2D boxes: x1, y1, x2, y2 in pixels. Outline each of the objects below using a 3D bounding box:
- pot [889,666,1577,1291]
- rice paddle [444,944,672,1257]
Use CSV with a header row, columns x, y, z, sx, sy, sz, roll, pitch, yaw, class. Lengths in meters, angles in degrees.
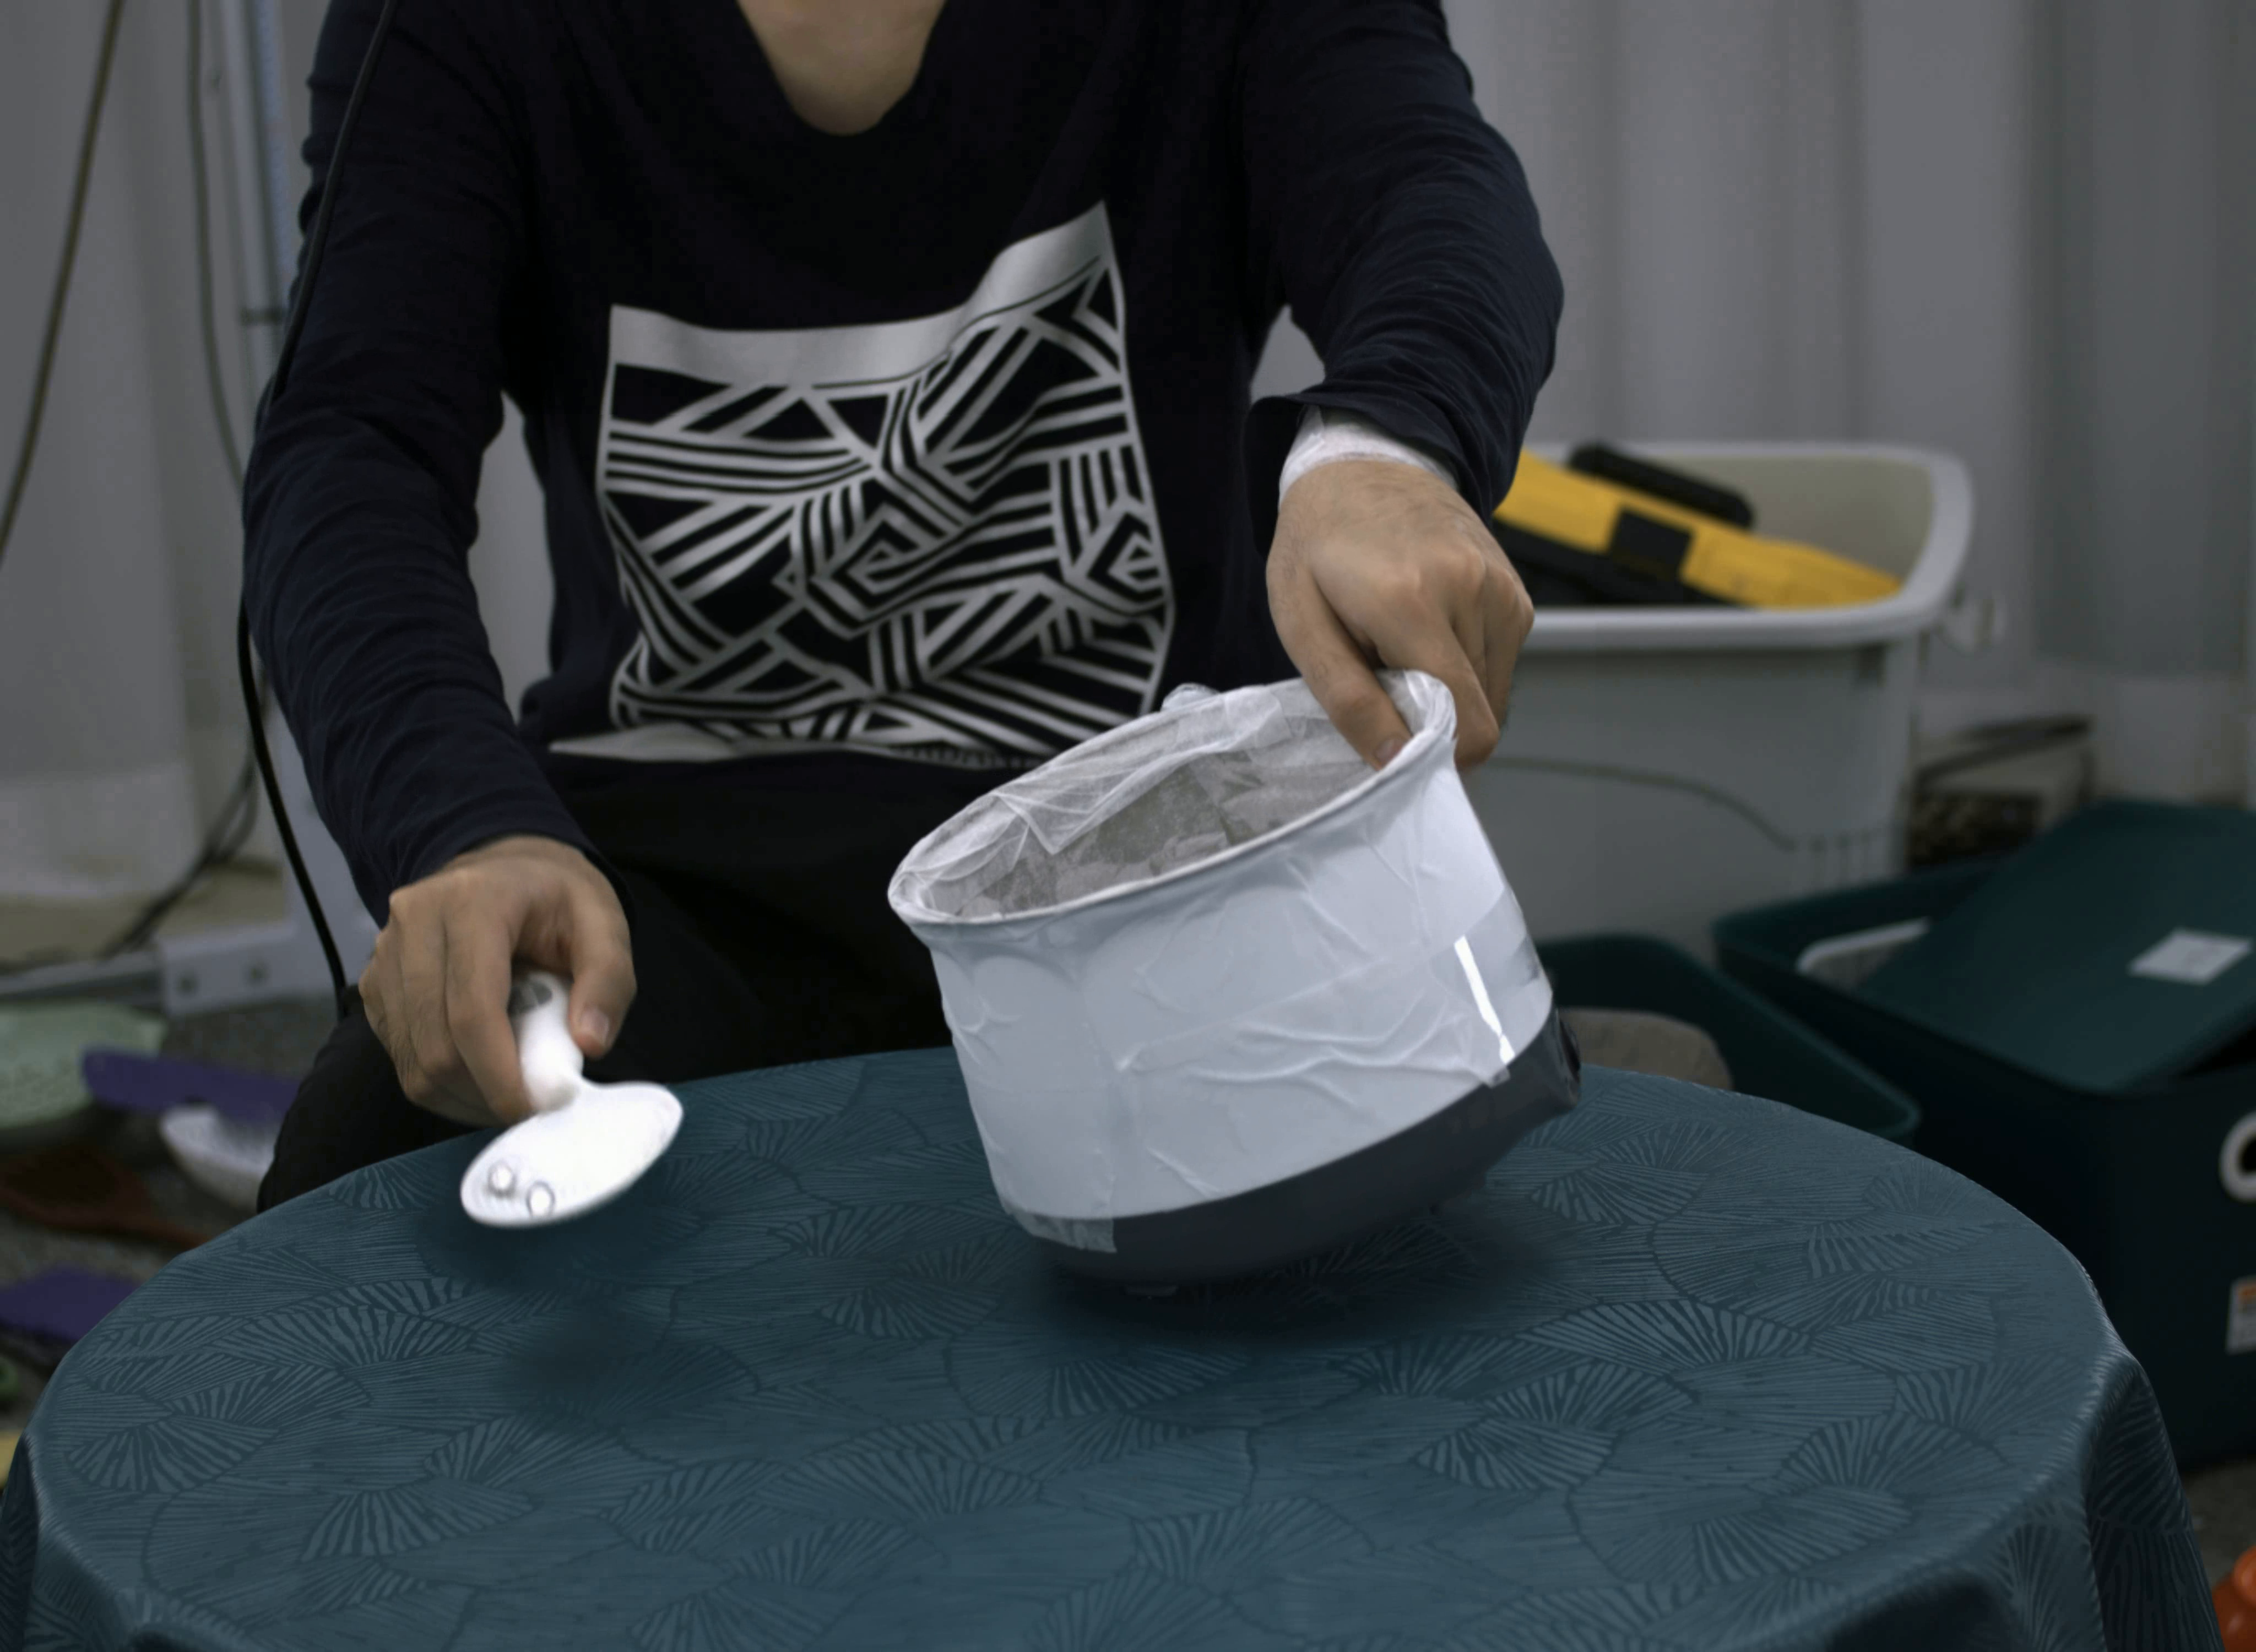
x,y,z,sx,sy,sz,roll,pitch,yaw,class
0.034,0.037,1.653,0.178,0.136,0.235,-16,16,7,pot
-0.178,0.084,1.652,0.068,0.029,0.207,-17,22,-6,rice paddle
